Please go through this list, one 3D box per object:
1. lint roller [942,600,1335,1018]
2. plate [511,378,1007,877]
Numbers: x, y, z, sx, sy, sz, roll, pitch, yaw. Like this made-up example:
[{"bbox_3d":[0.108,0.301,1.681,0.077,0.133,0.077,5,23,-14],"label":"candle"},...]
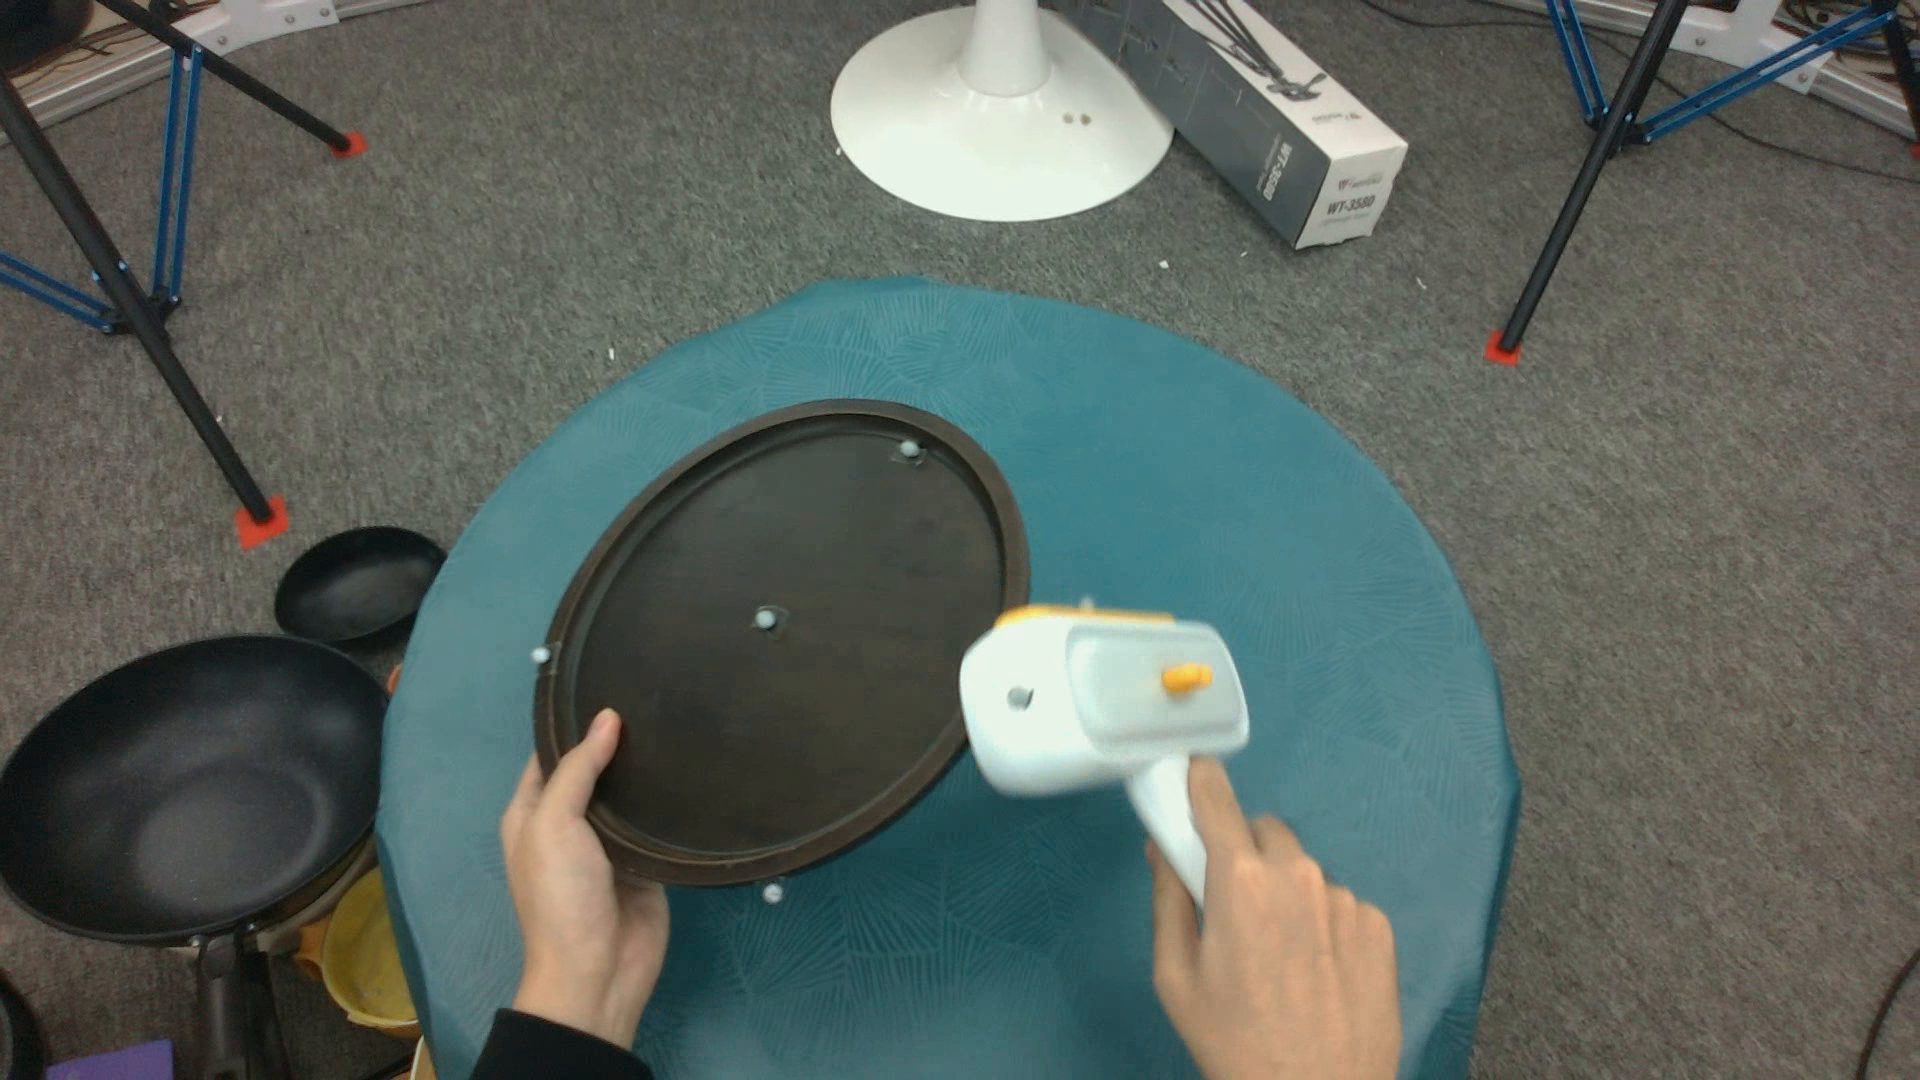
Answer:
[{"bbox_3d":[0.087,0.112,0.578,0.074,0.193,0.192,-30,74,22],"label":"lint roller"},{"bbox_3d":[-0.096,0.034,0.643,0.254,0.029,0.256,-12,56,18],"label":"plate"}]
